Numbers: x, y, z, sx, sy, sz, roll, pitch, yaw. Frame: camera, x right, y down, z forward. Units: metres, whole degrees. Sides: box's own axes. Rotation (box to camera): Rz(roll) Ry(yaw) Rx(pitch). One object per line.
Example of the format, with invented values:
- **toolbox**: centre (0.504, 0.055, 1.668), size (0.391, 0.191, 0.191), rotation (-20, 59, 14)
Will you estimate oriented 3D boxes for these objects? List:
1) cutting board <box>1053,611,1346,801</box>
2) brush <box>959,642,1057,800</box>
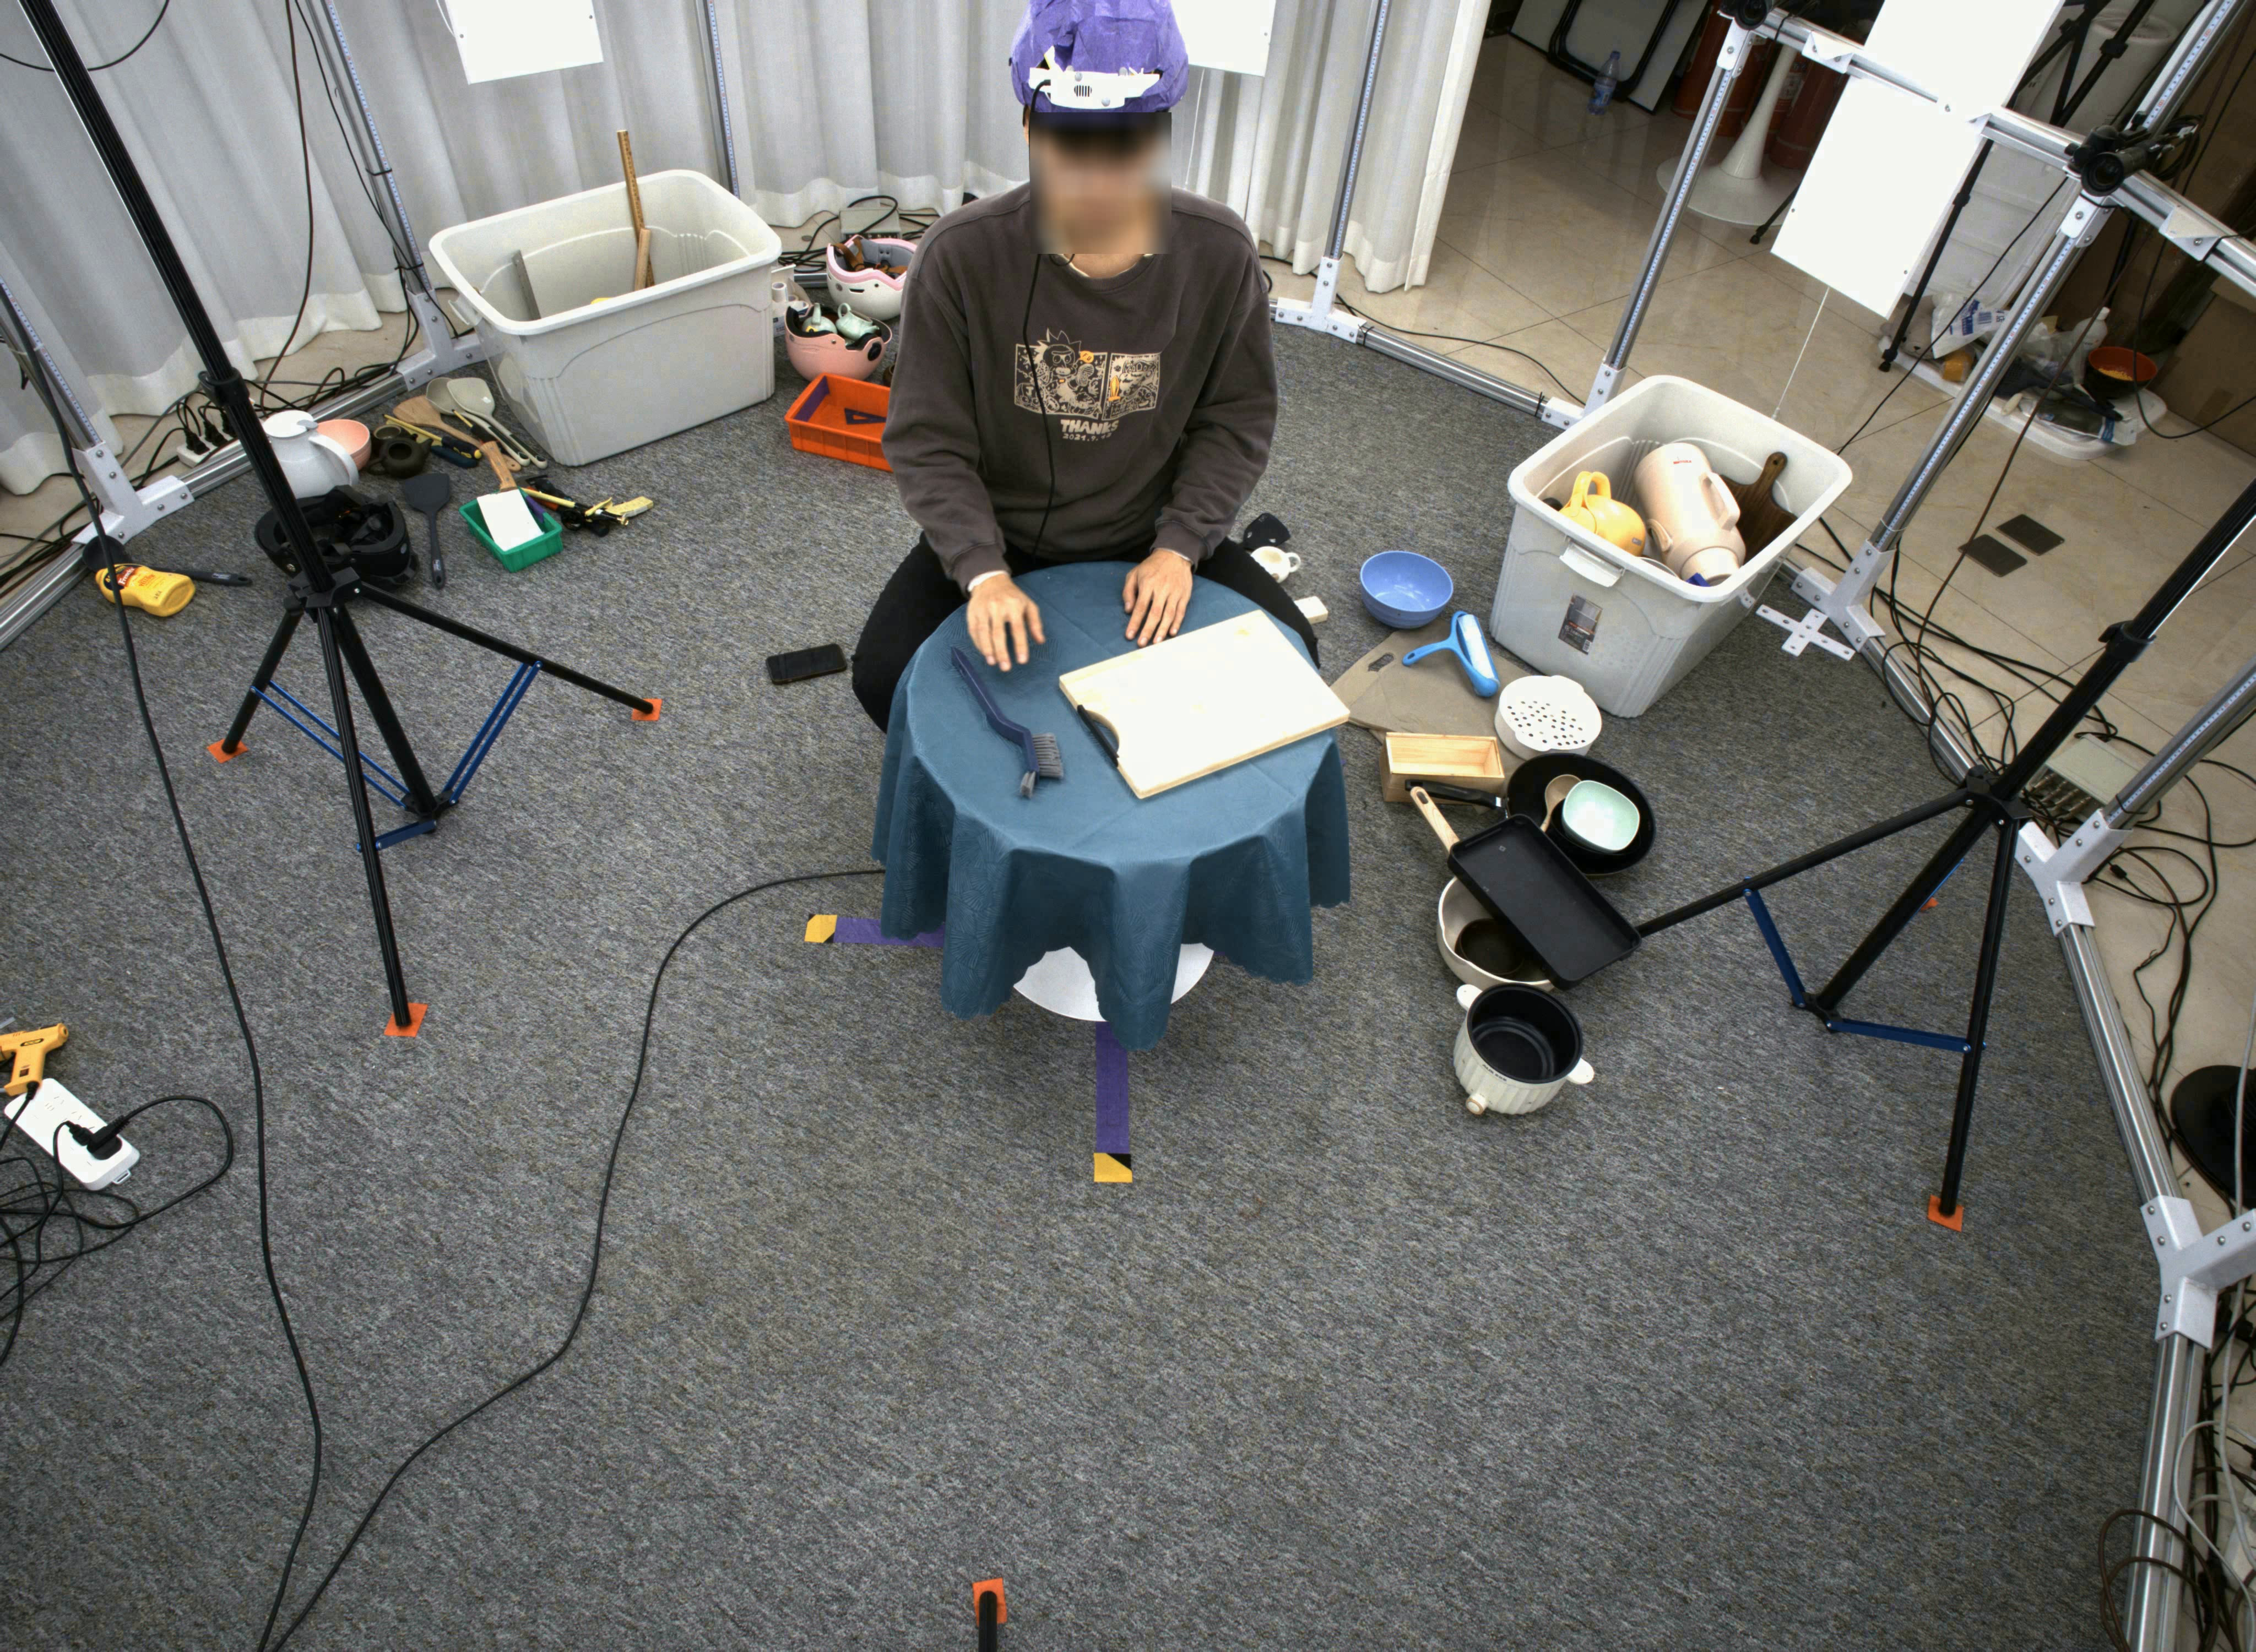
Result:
- **cutting board**: centre (0.102, -0.178, 1.816), size (0.349, 0.023, 0.256), rotation (-21, 53, -21)
- **brush**: centre (-0.185, -0.150, 1.764), size (0.096, 0.033, 0.278), rotation (-27, 57, -24)
